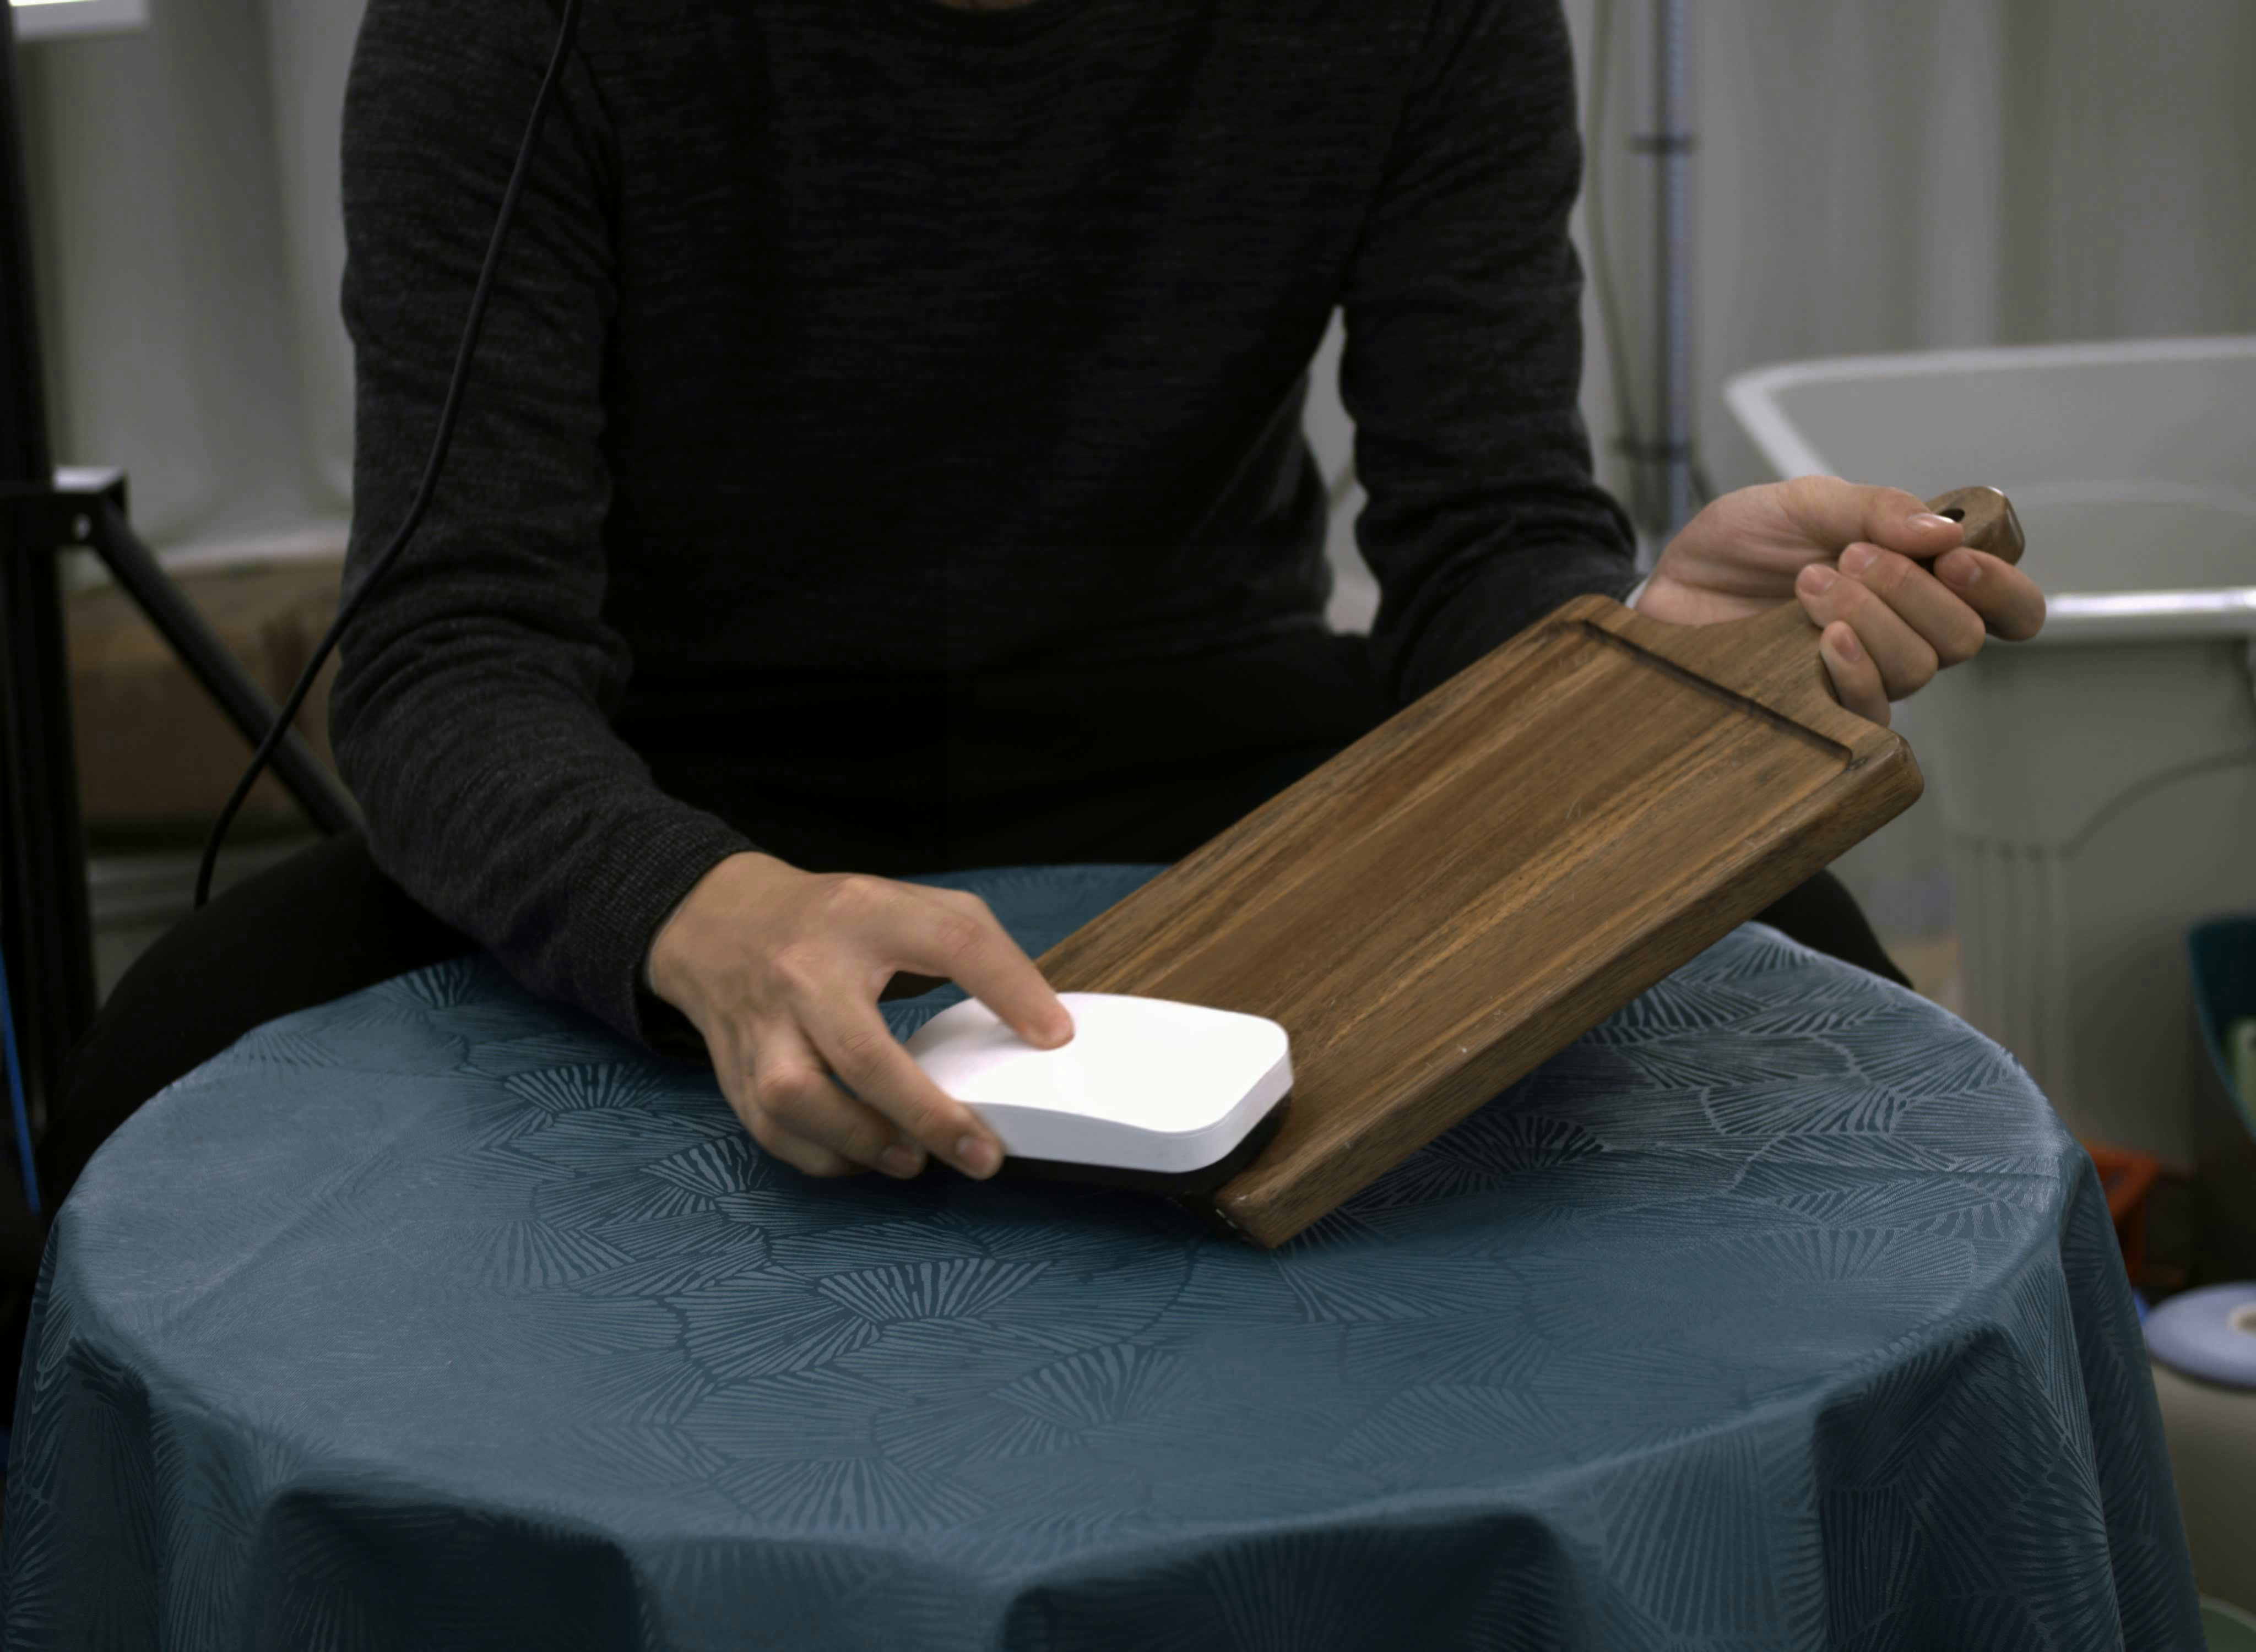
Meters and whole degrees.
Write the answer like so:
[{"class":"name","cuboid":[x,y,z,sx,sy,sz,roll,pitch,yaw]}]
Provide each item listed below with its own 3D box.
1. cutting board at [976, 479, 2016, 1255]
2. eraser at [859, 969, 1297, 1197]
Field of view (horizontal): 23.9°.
[{"class":"cutting board","cuboid":[0.132,-0.003,1.614,0.349,0.023,0.205,-34,27,-13]},{"class":"eraser","cuboid":[-0.013,0.074,1.551,0.134,0.034,0.062,6,34,38]}]
